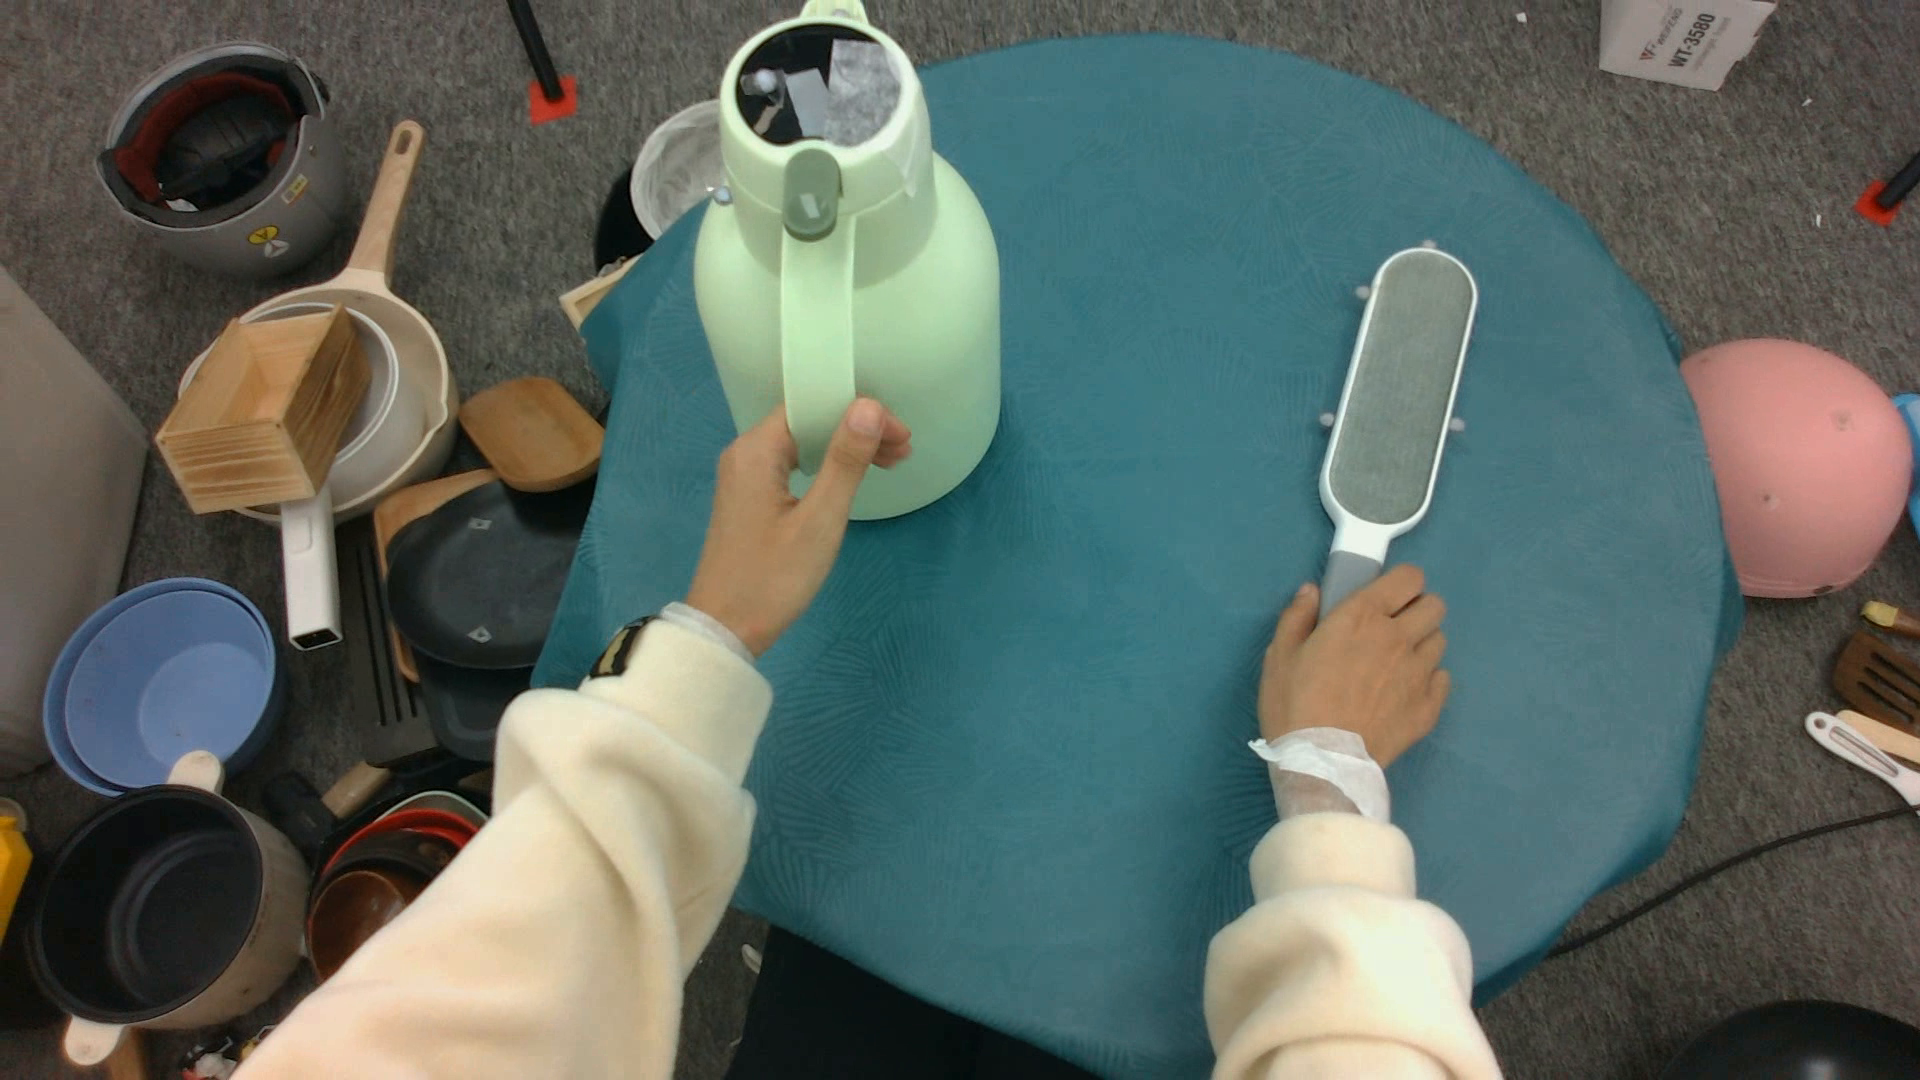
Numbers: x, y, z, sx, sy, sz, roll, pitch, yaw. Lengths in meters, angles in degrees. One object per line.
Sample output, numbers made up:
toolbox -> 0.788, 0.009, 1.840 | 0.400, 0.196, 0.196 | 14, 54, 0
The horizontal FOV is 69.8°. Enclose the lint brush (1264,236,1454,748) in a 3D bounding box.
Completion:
lint brush -> 0.207, -0.035, 0.726 | 0.060, 0.021, 0.310 | 18, 68, 5

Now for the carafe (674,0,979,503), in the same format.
carafe -> -0.062, -0.114, 0.636 | 0.144, 0.256, 0.187 | 1, 70, -1
